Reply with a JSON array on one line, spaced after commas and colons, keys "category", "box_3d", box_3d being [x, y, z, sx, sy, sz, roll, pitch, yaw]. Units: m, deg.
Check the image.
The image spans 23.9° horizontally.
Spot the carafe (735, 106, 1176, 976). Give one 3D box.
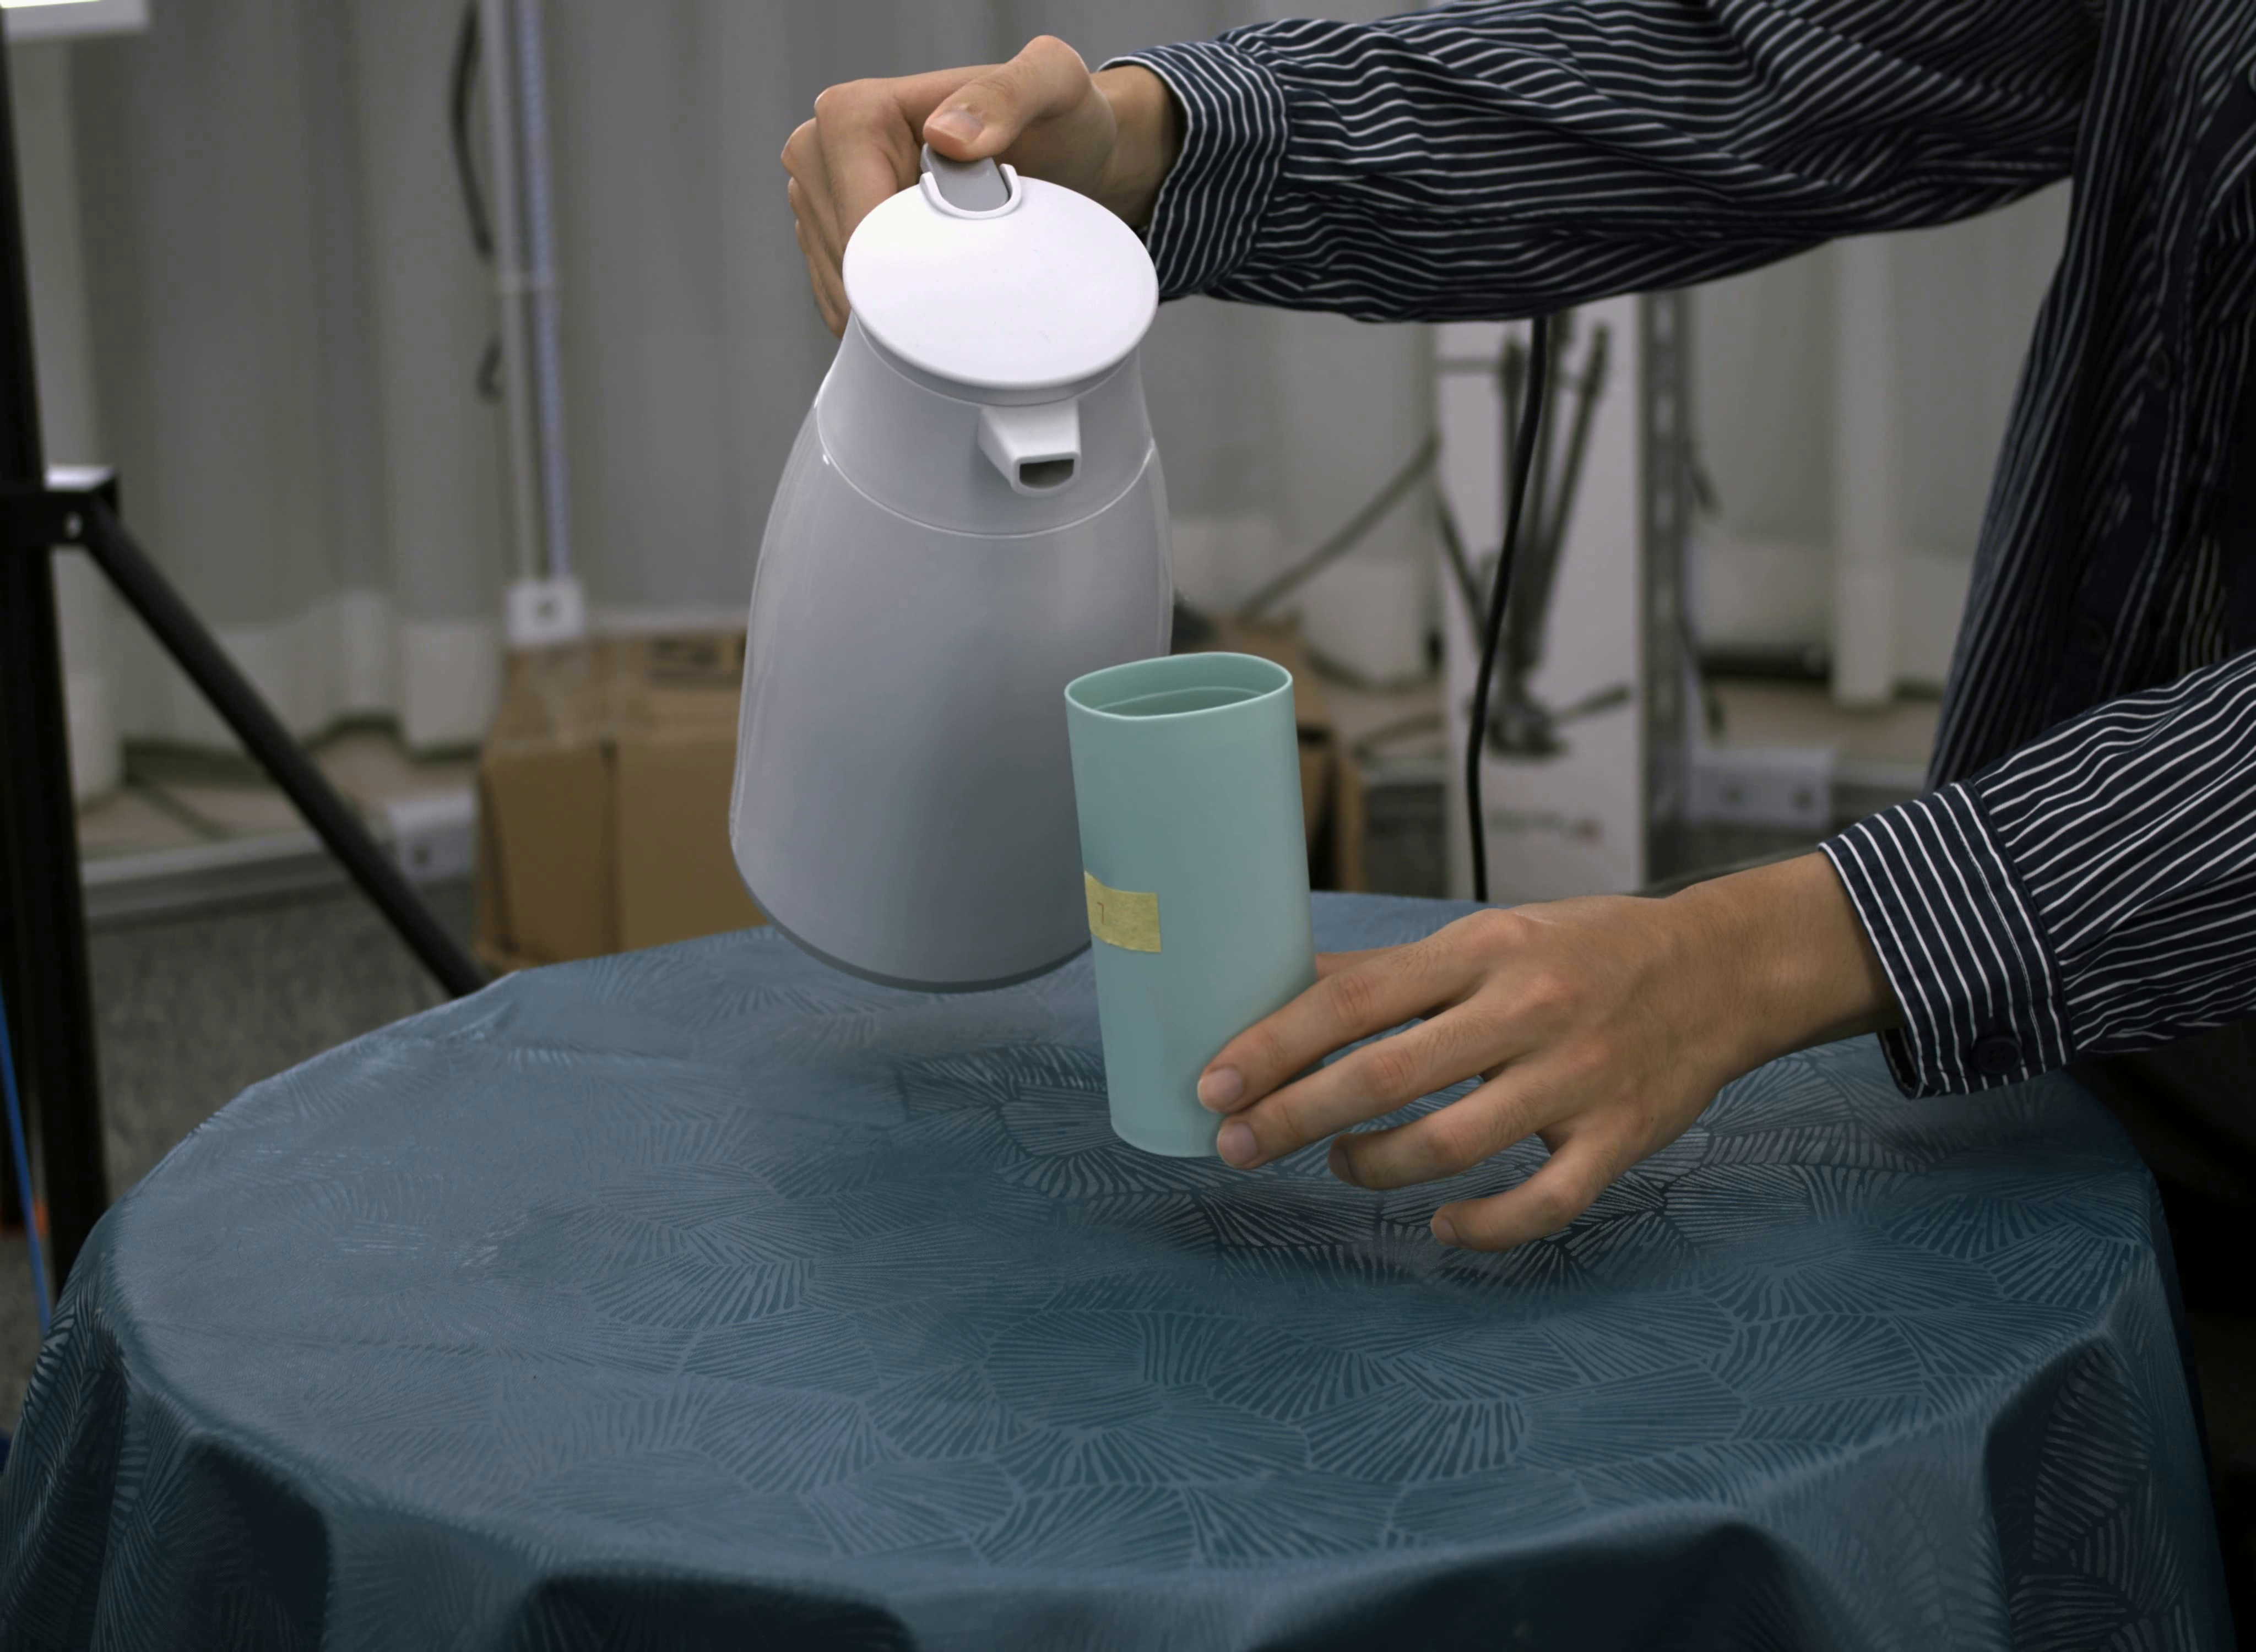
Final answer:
[{"category": "carafe", "box_3d": [-0.055, -0.098, 1.625, 0.130, 0.248, 0.171, -10, 48, -15]}]

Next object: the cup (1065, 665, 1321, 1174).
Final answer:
[{"category": "cup", "box_3d": [0.021, 0.026, 1.511, 0.066, 0.132, 0.067, -5, 15, 0]}]
